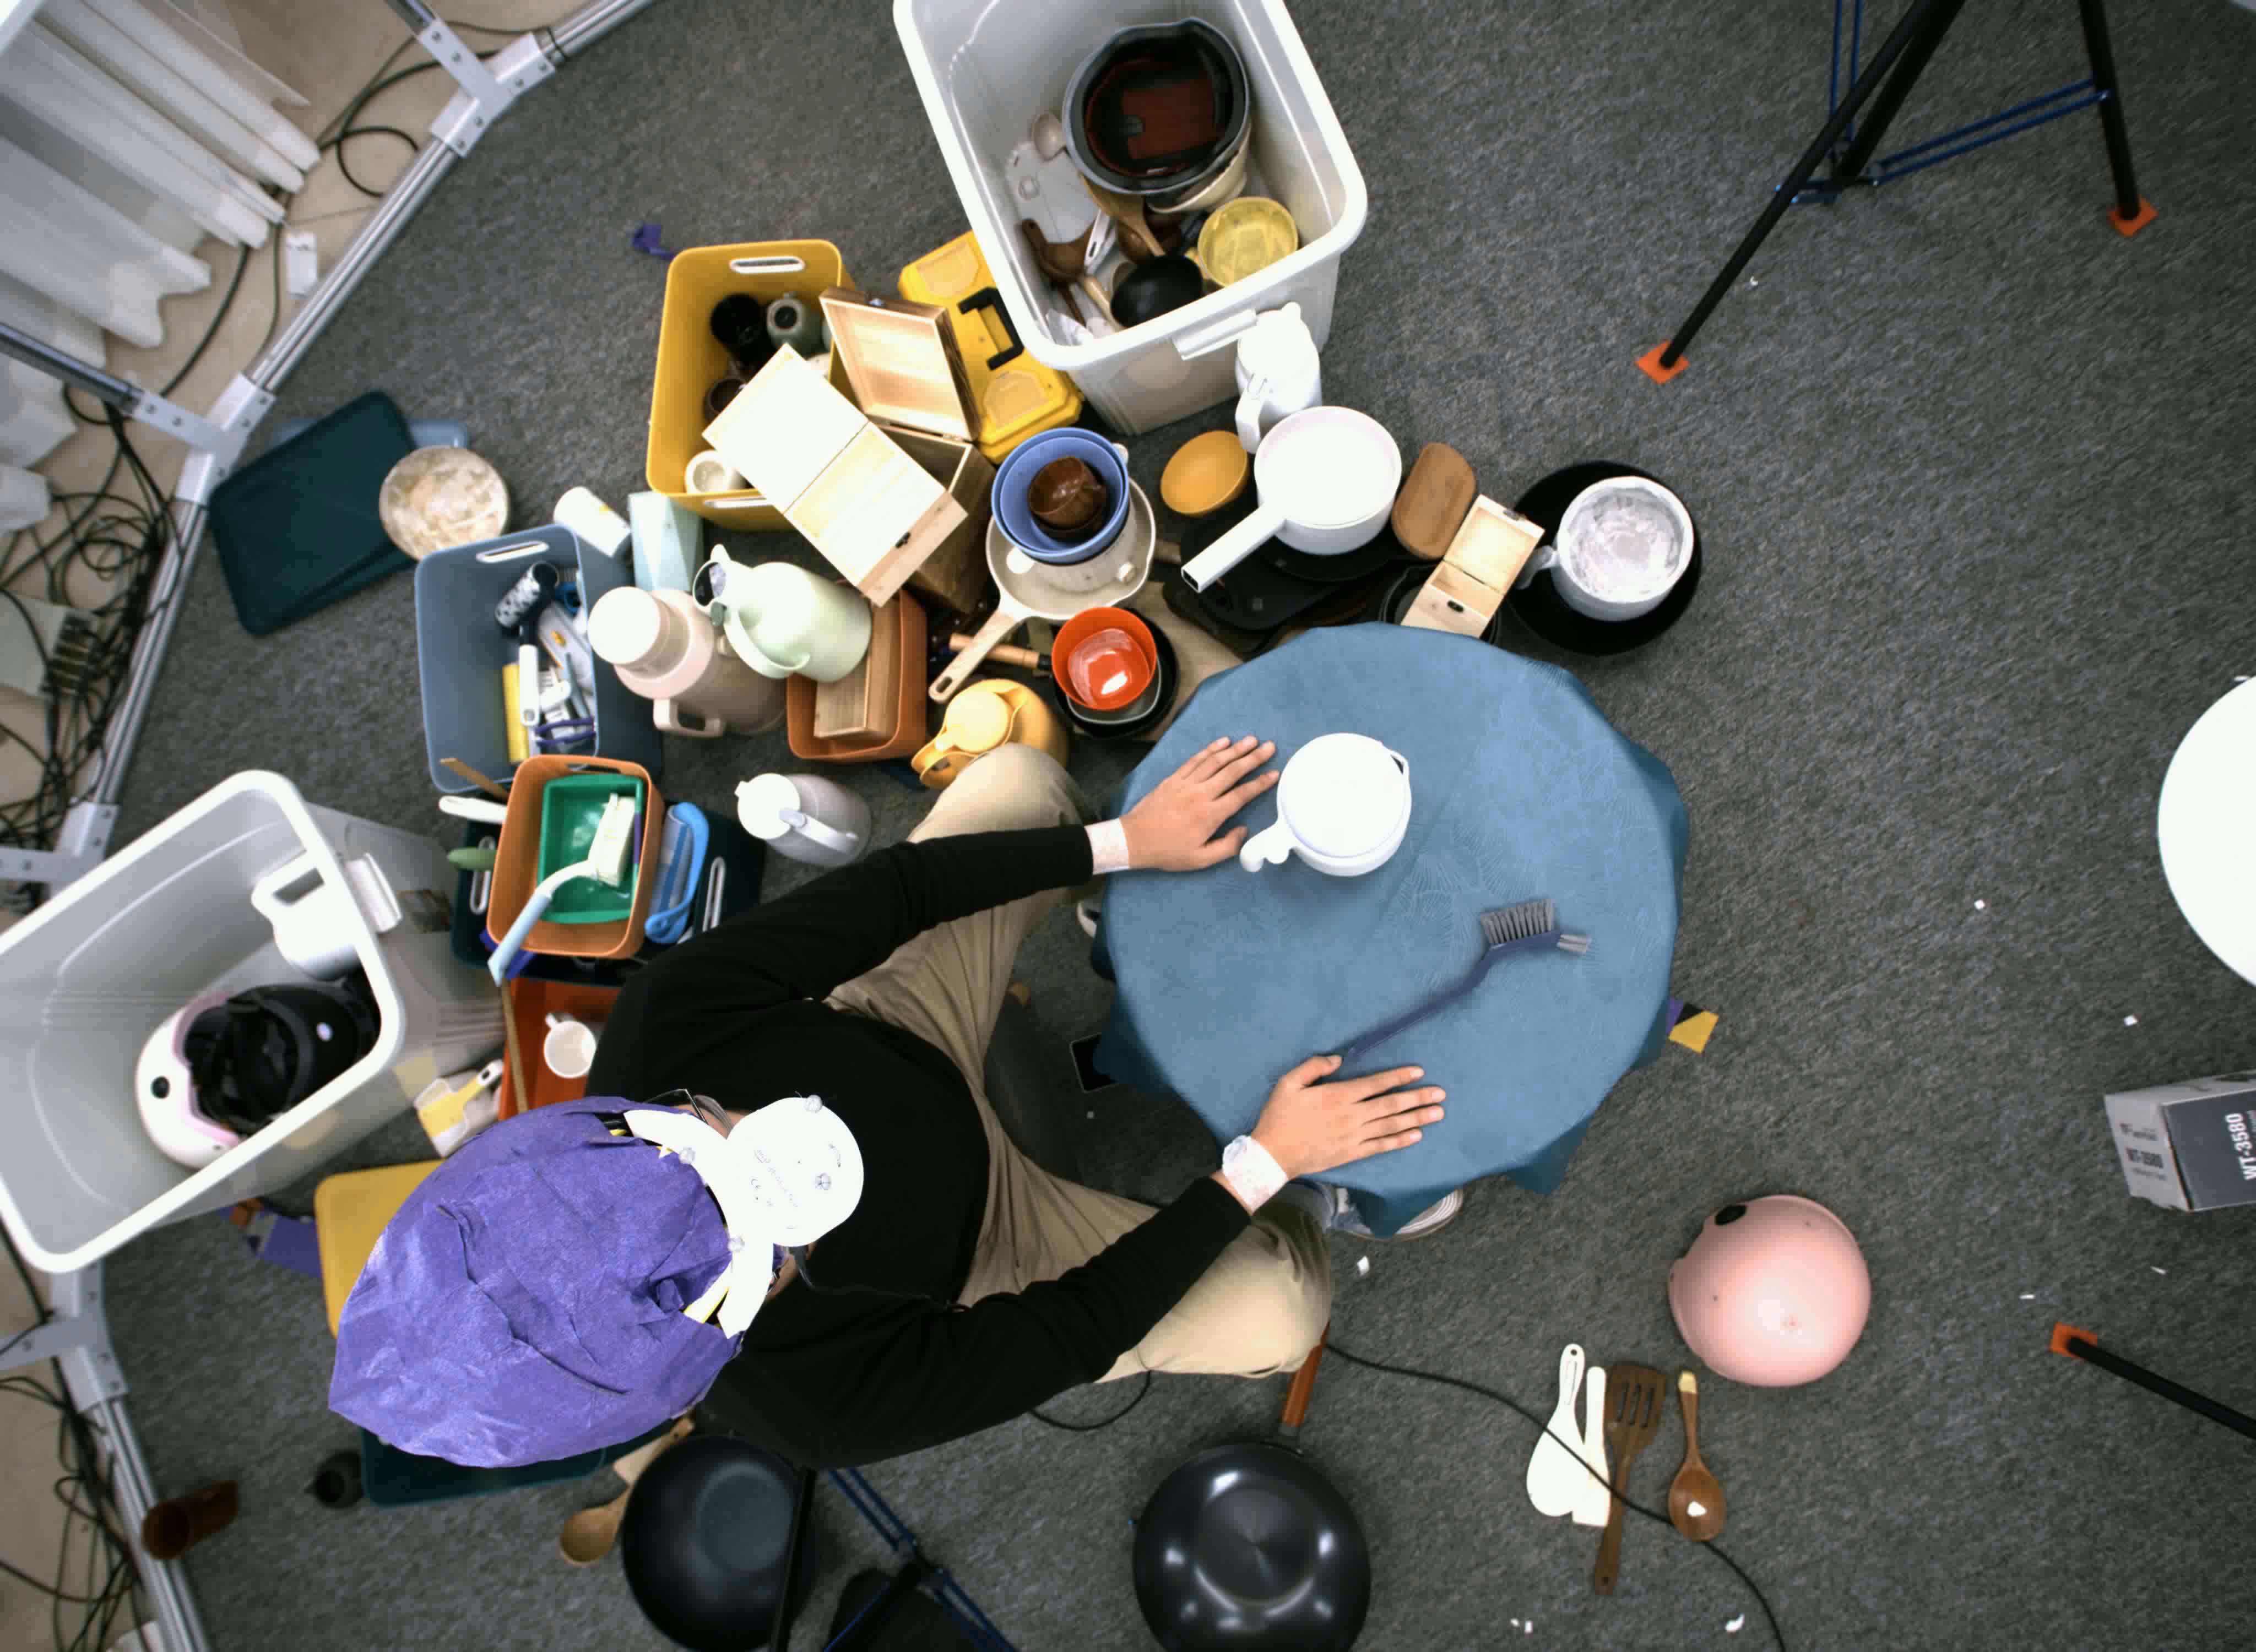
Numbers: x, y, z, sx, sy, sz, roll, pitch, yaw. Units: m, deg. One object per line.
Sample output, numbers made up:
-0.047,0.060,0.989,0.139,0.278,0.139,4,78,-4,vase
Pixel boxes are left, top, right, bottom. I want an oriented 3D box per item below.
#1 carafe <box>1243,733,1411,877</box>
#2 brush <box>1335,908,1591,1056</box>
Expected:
0.196,-0.008,1.391,0.192,0.182,0.131,-32,80,7,carafe
0.341,0.176,1.426,0.274,0.033,0.095,-38,84,6,brush
